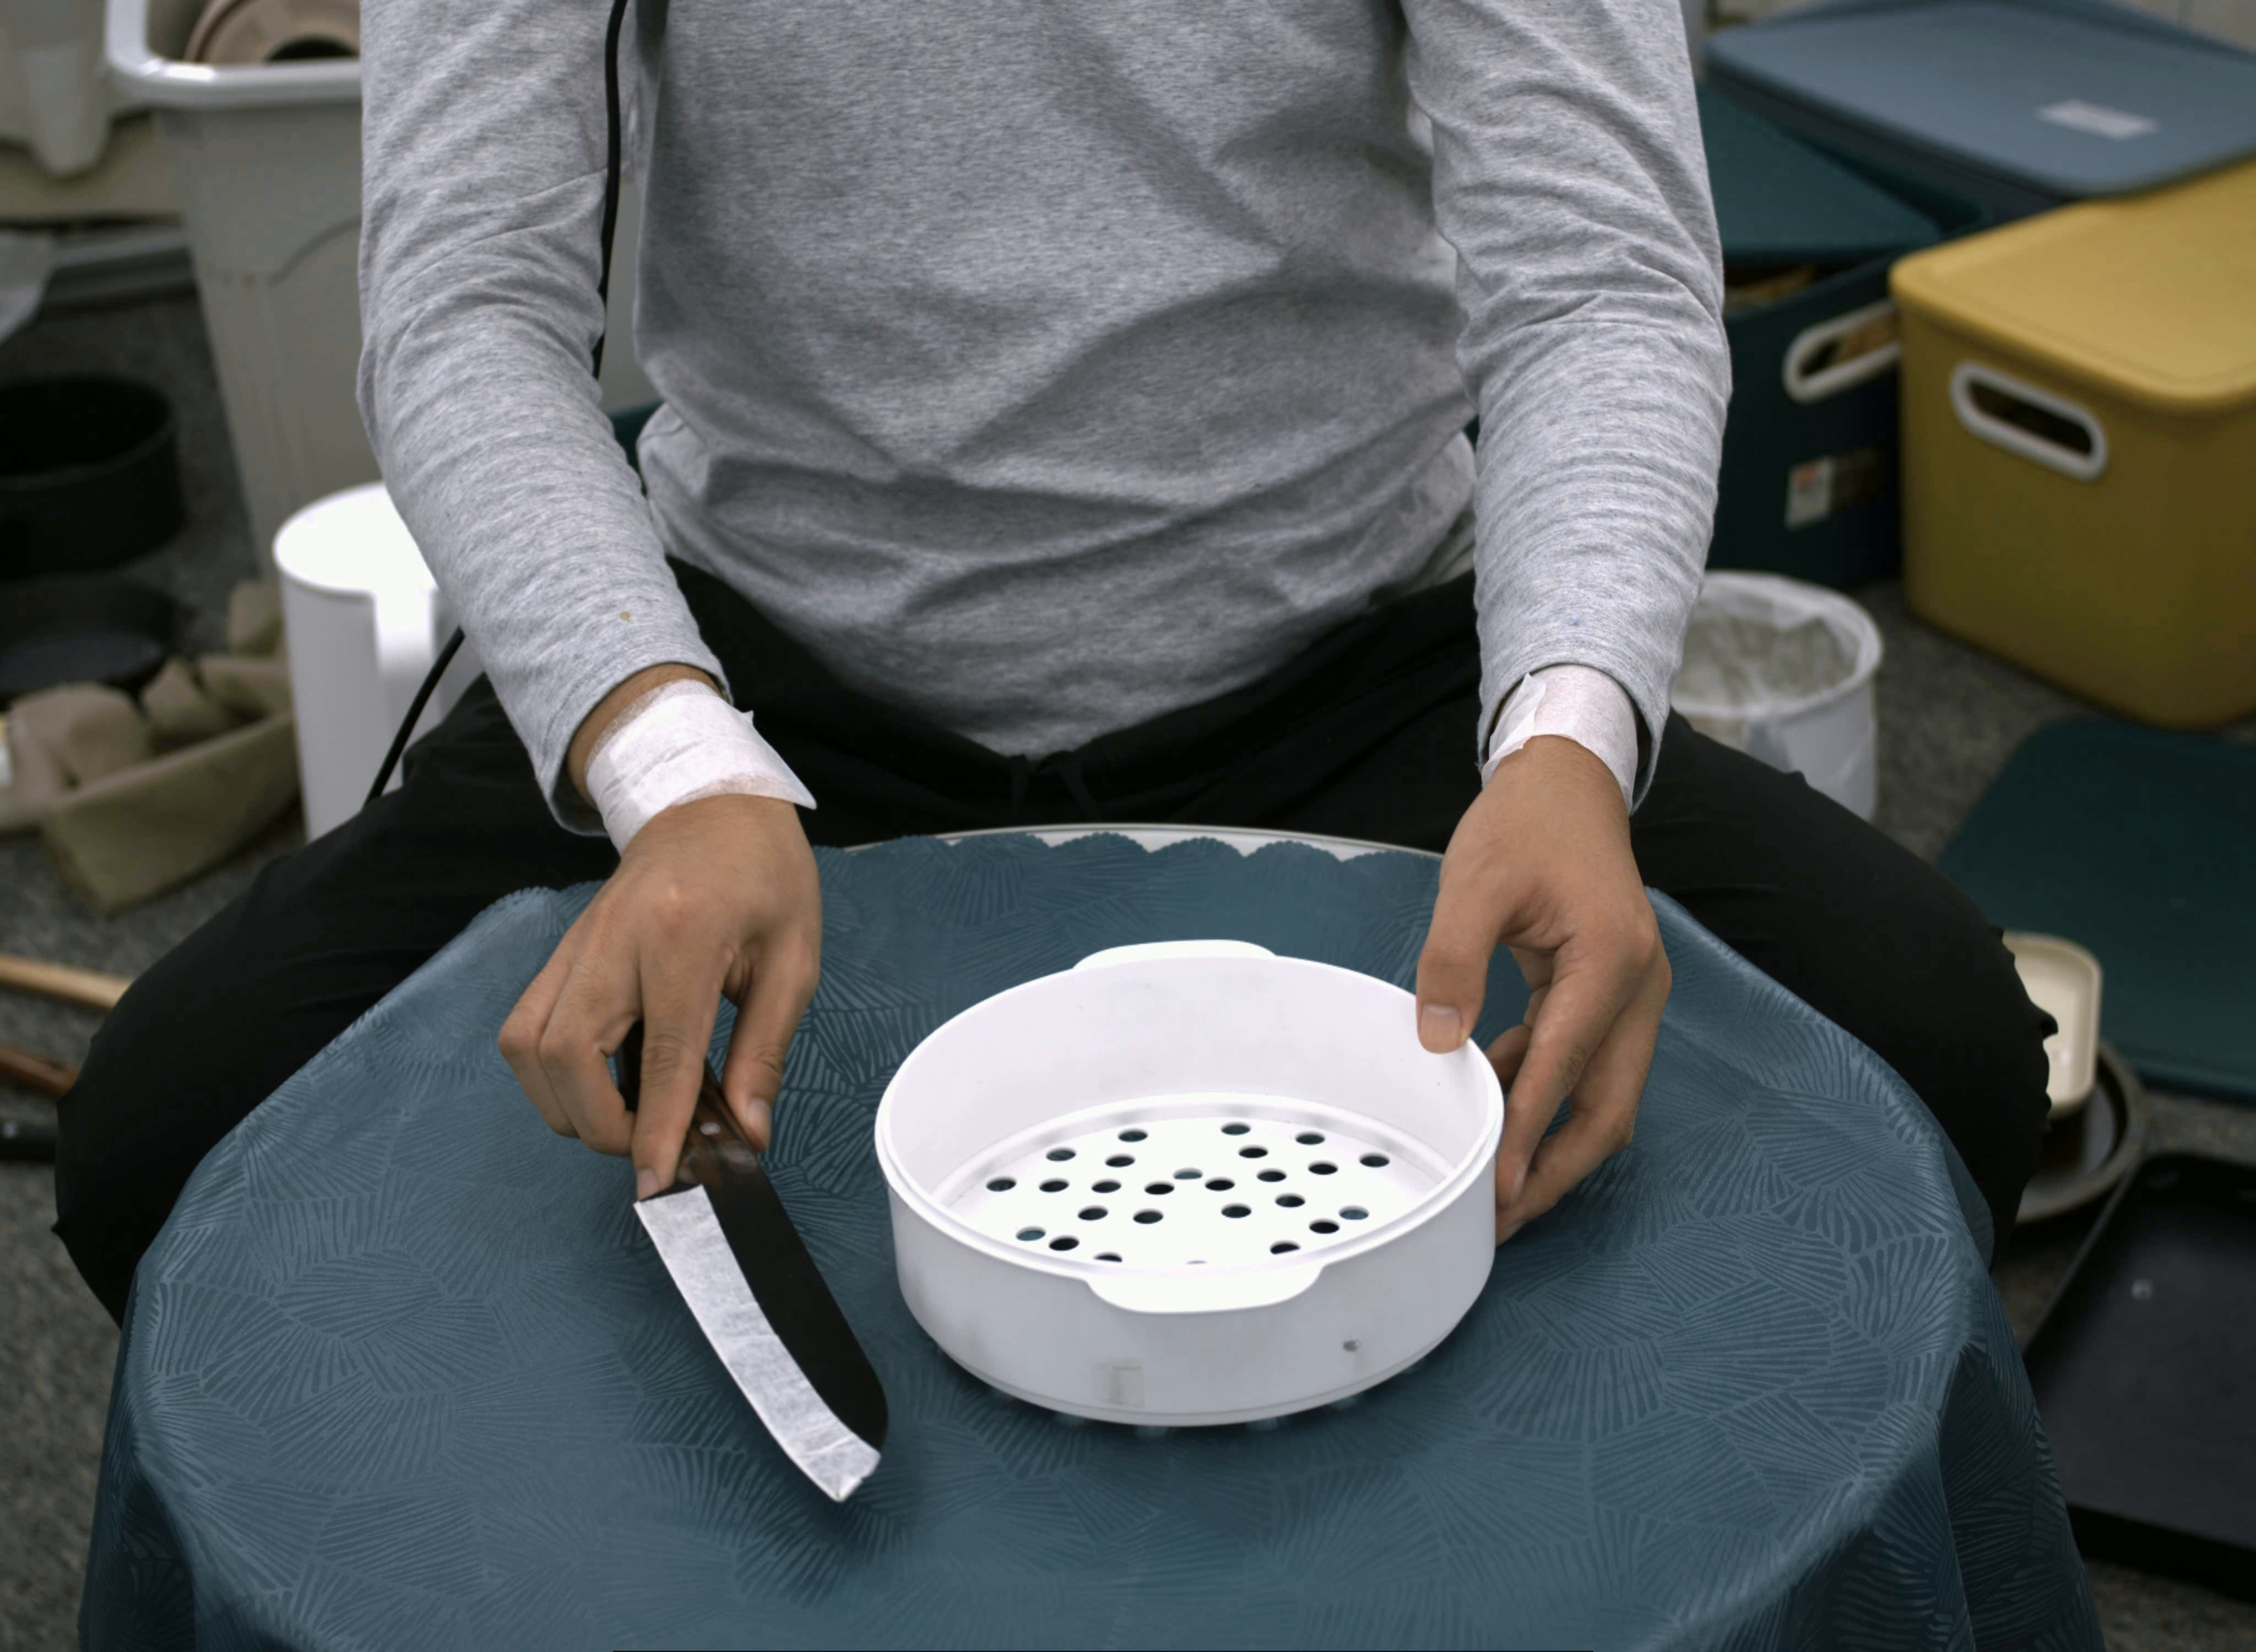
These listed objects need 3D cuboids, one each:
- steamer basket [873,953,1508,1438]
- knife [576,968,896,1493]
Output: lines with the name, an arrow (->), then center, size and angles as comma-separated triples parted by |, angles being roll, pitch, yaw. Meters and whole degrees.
steamer basket -> 0.020, 0.119, 1.792 | 0.201, 0.068, 0.234 | -3, 26, -1
knife -> -0.129, 0.127, 1.783 | 0.050, 0.020, 0.292 | -12, 33, -15
